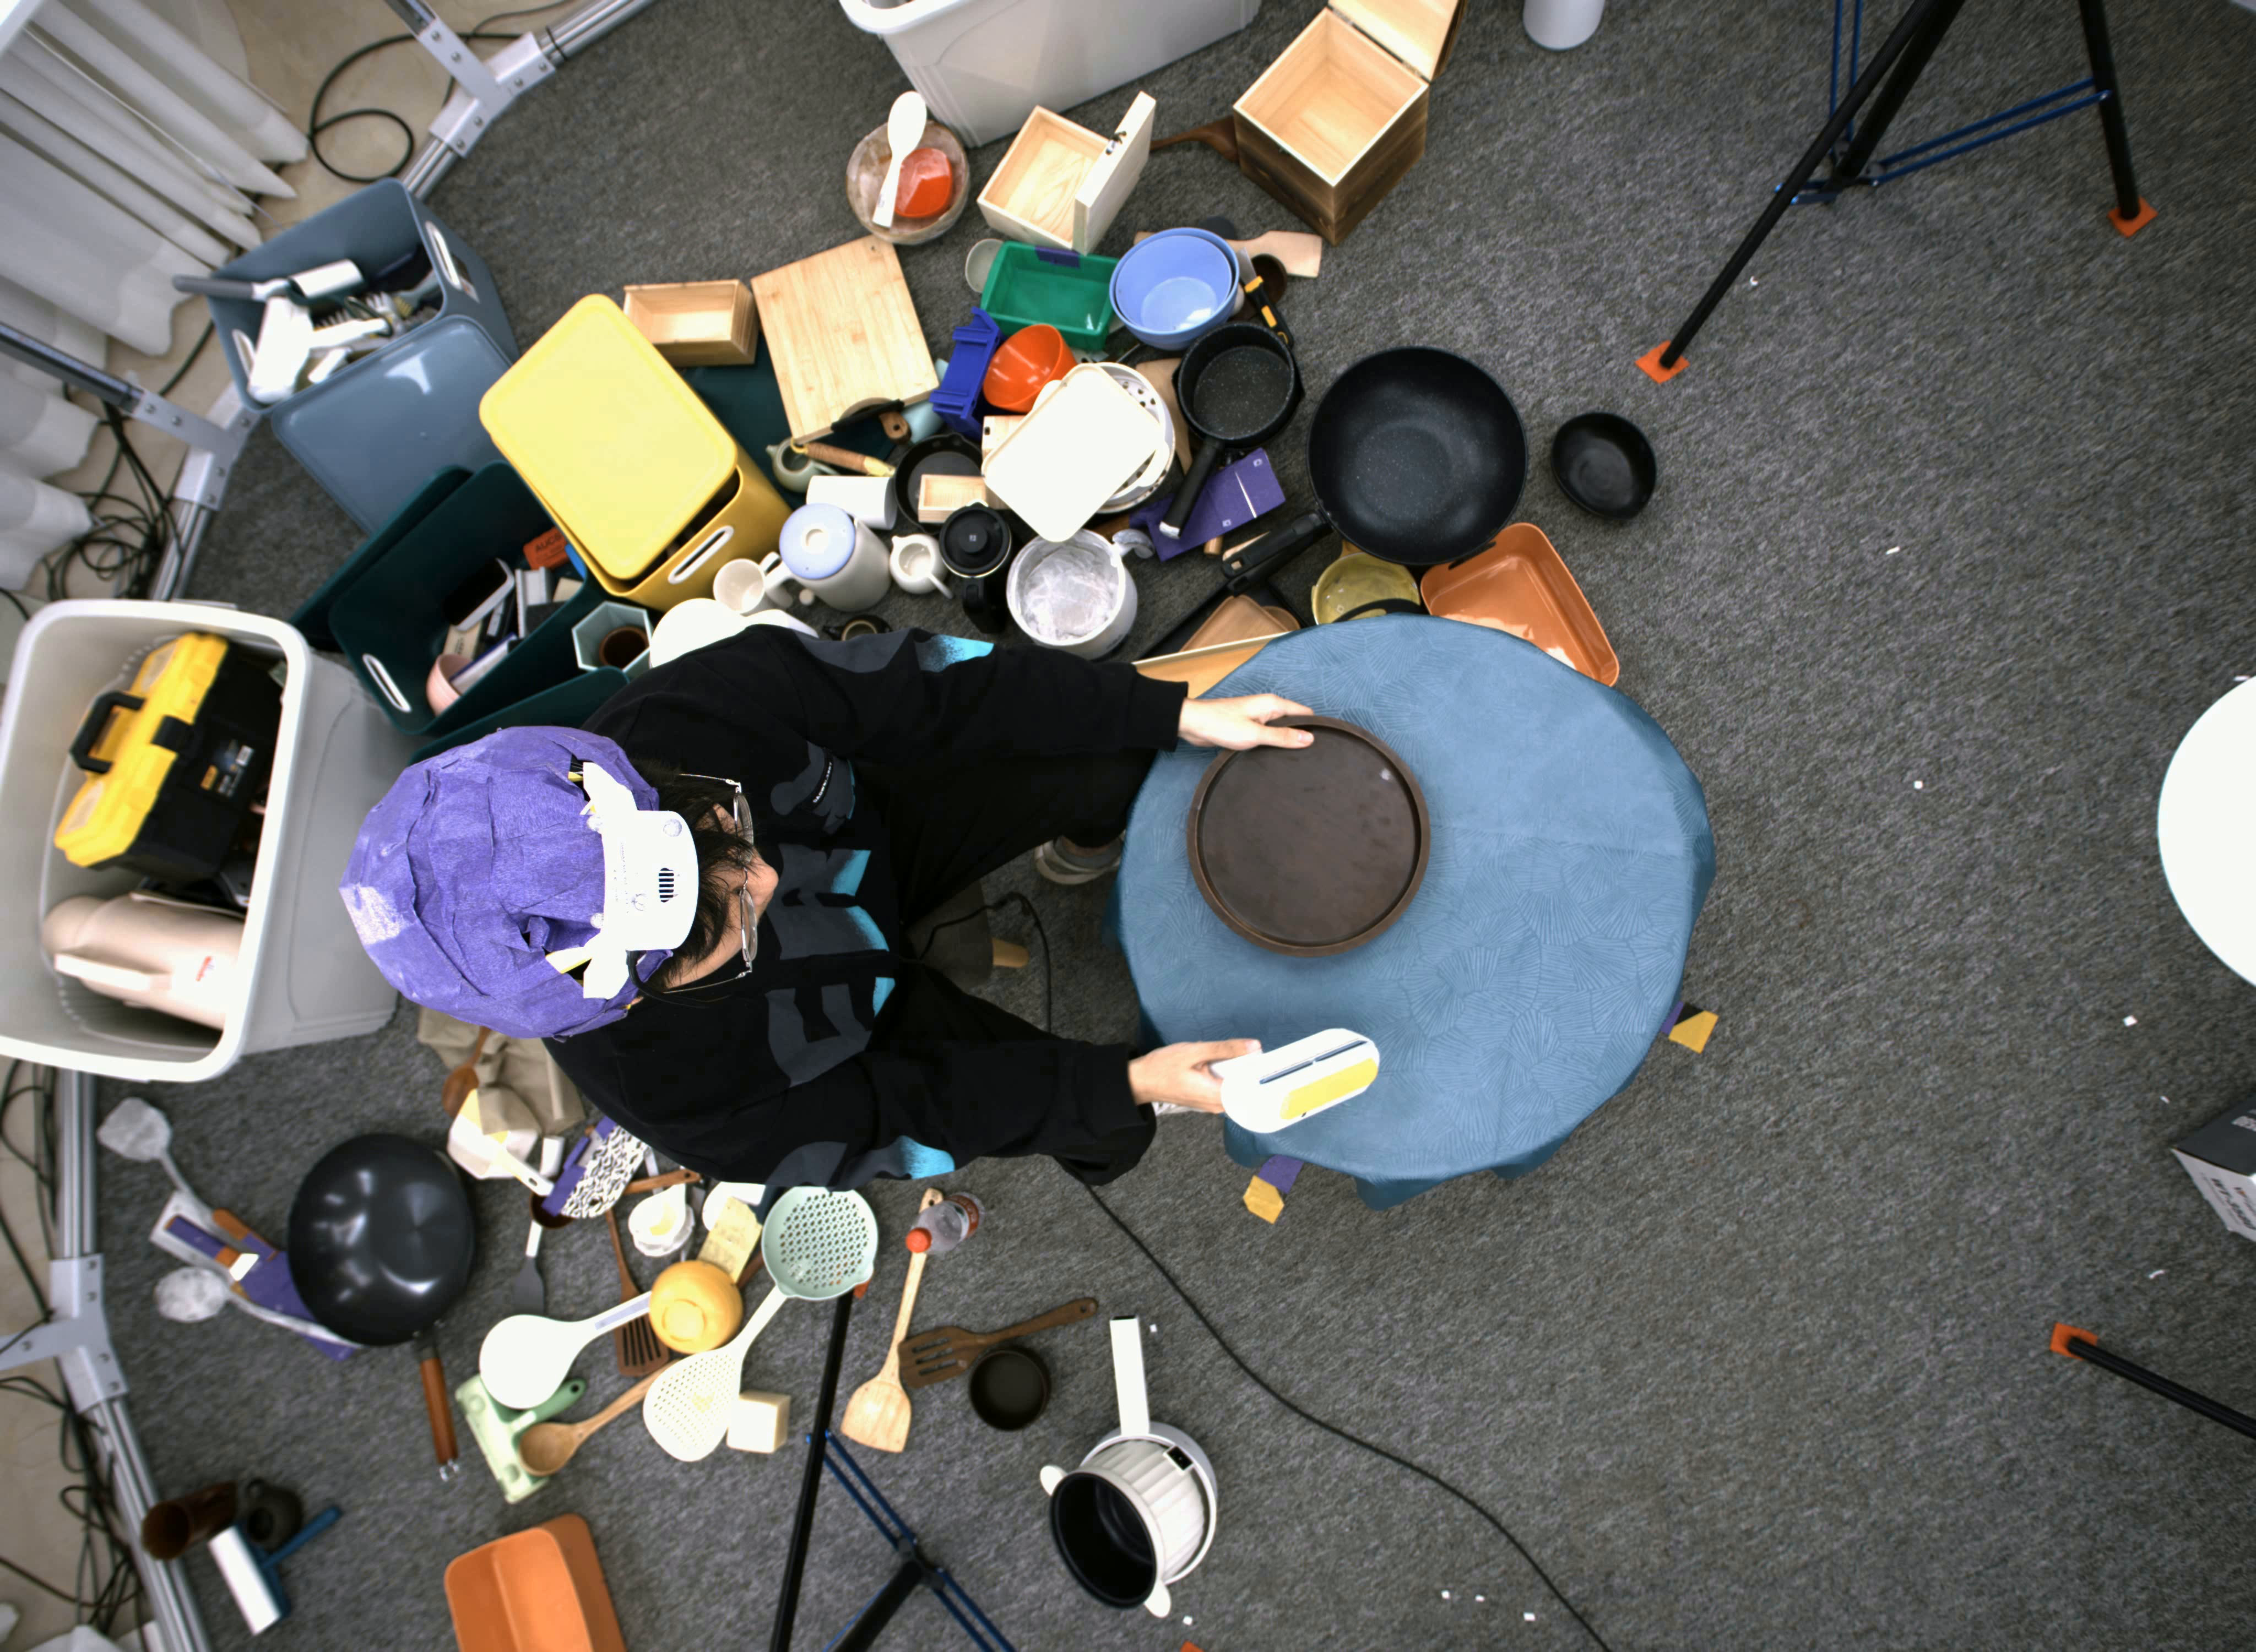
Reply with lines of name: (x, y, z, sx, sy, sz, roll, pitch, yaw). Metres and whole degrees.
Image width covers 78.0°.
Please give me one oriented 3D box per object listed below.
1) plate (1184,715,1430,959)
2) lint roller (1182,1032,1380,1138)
plate: (0.186, 0.010, 1.436, 0.255, 0.029, 0.254, -1, 88, 8)
lint roller: (0.124, 0.238, 1.361, 0.192, 0.190, 0.075, 14, 113, 48)
